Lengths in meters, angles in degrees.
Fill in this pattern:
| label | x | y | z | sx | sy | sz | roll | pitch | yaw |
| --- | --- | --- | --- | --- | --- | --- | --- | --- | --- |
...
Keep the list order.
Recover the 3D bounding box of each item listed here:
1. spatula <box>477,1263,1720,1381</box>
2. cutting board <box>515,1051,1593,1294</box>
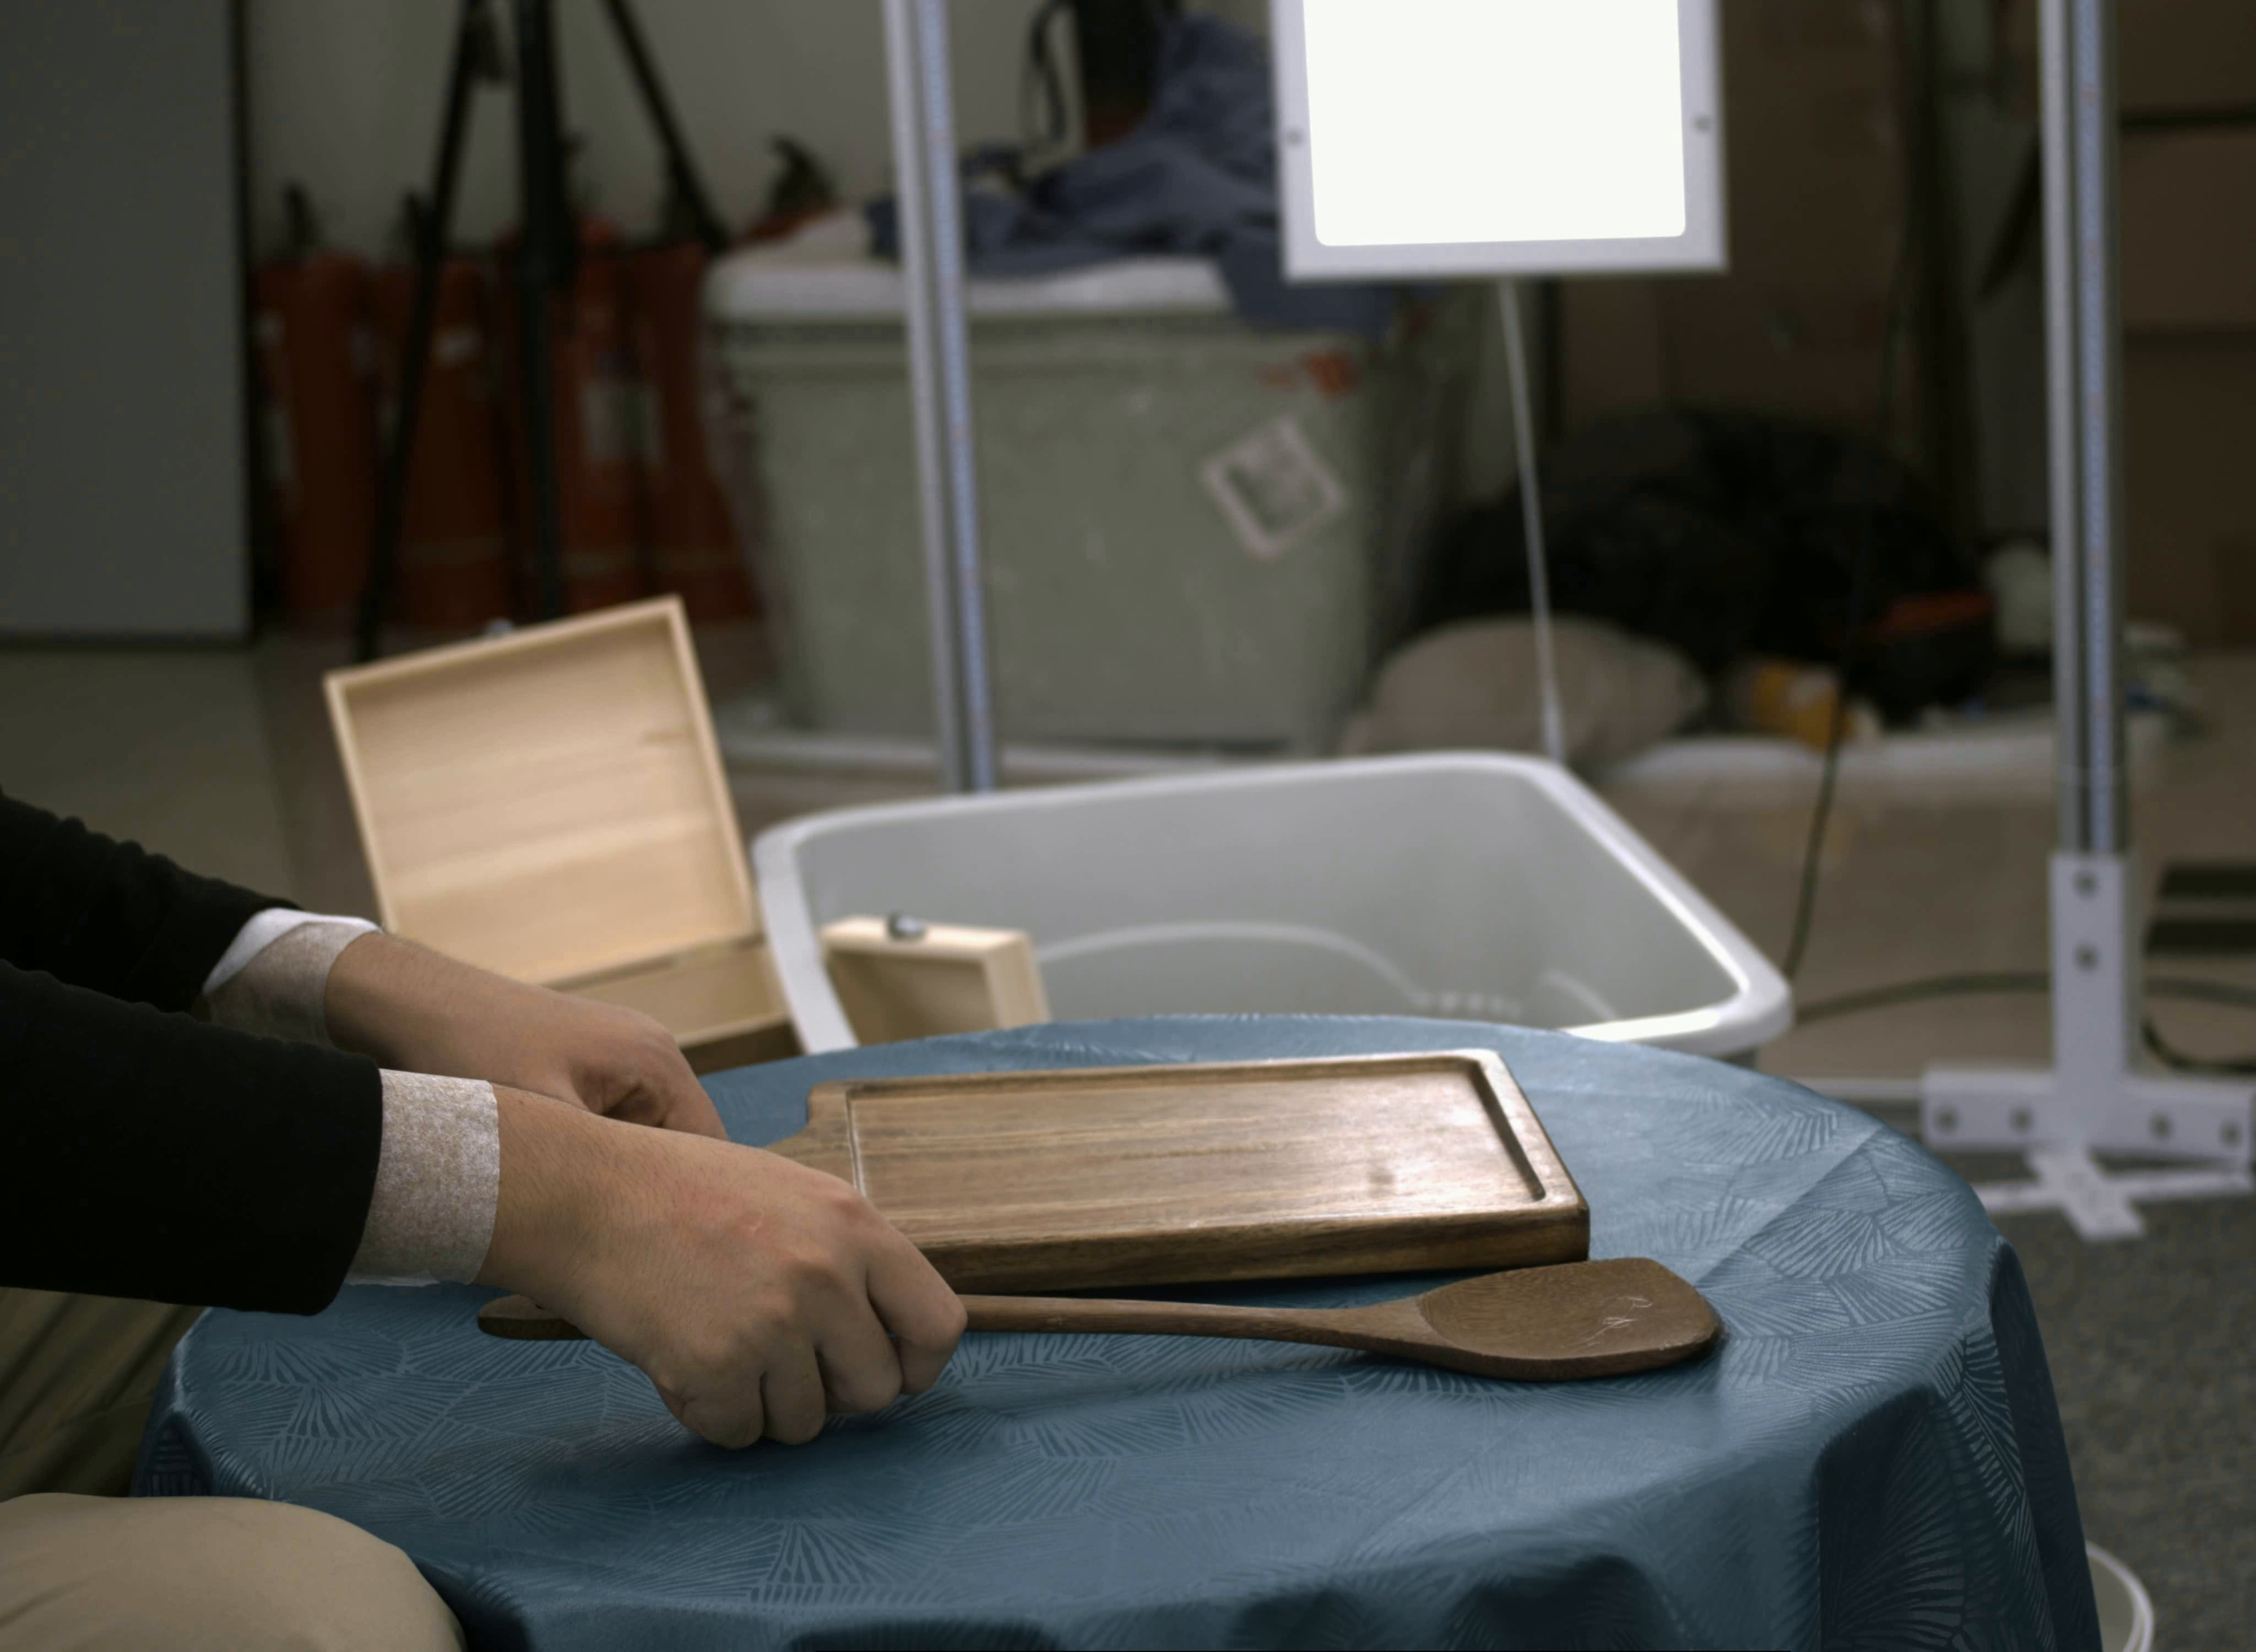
| label | x | y | z | sx | sy | sz | roll | pitch | yaw |
| --- | --- | --- | --- | --- | --- | --- | --- | --- | --- |
| spatula | -0.008 | 0.151 | 1.704 | 0.383 | 0.016 | 0.096 | 1 | 13 | -4 |
| cutting board | -0.031 | 0.118 | 1.865 | 0.350 | 0.023 | 0.201 | -3 | 13 | -3 |
